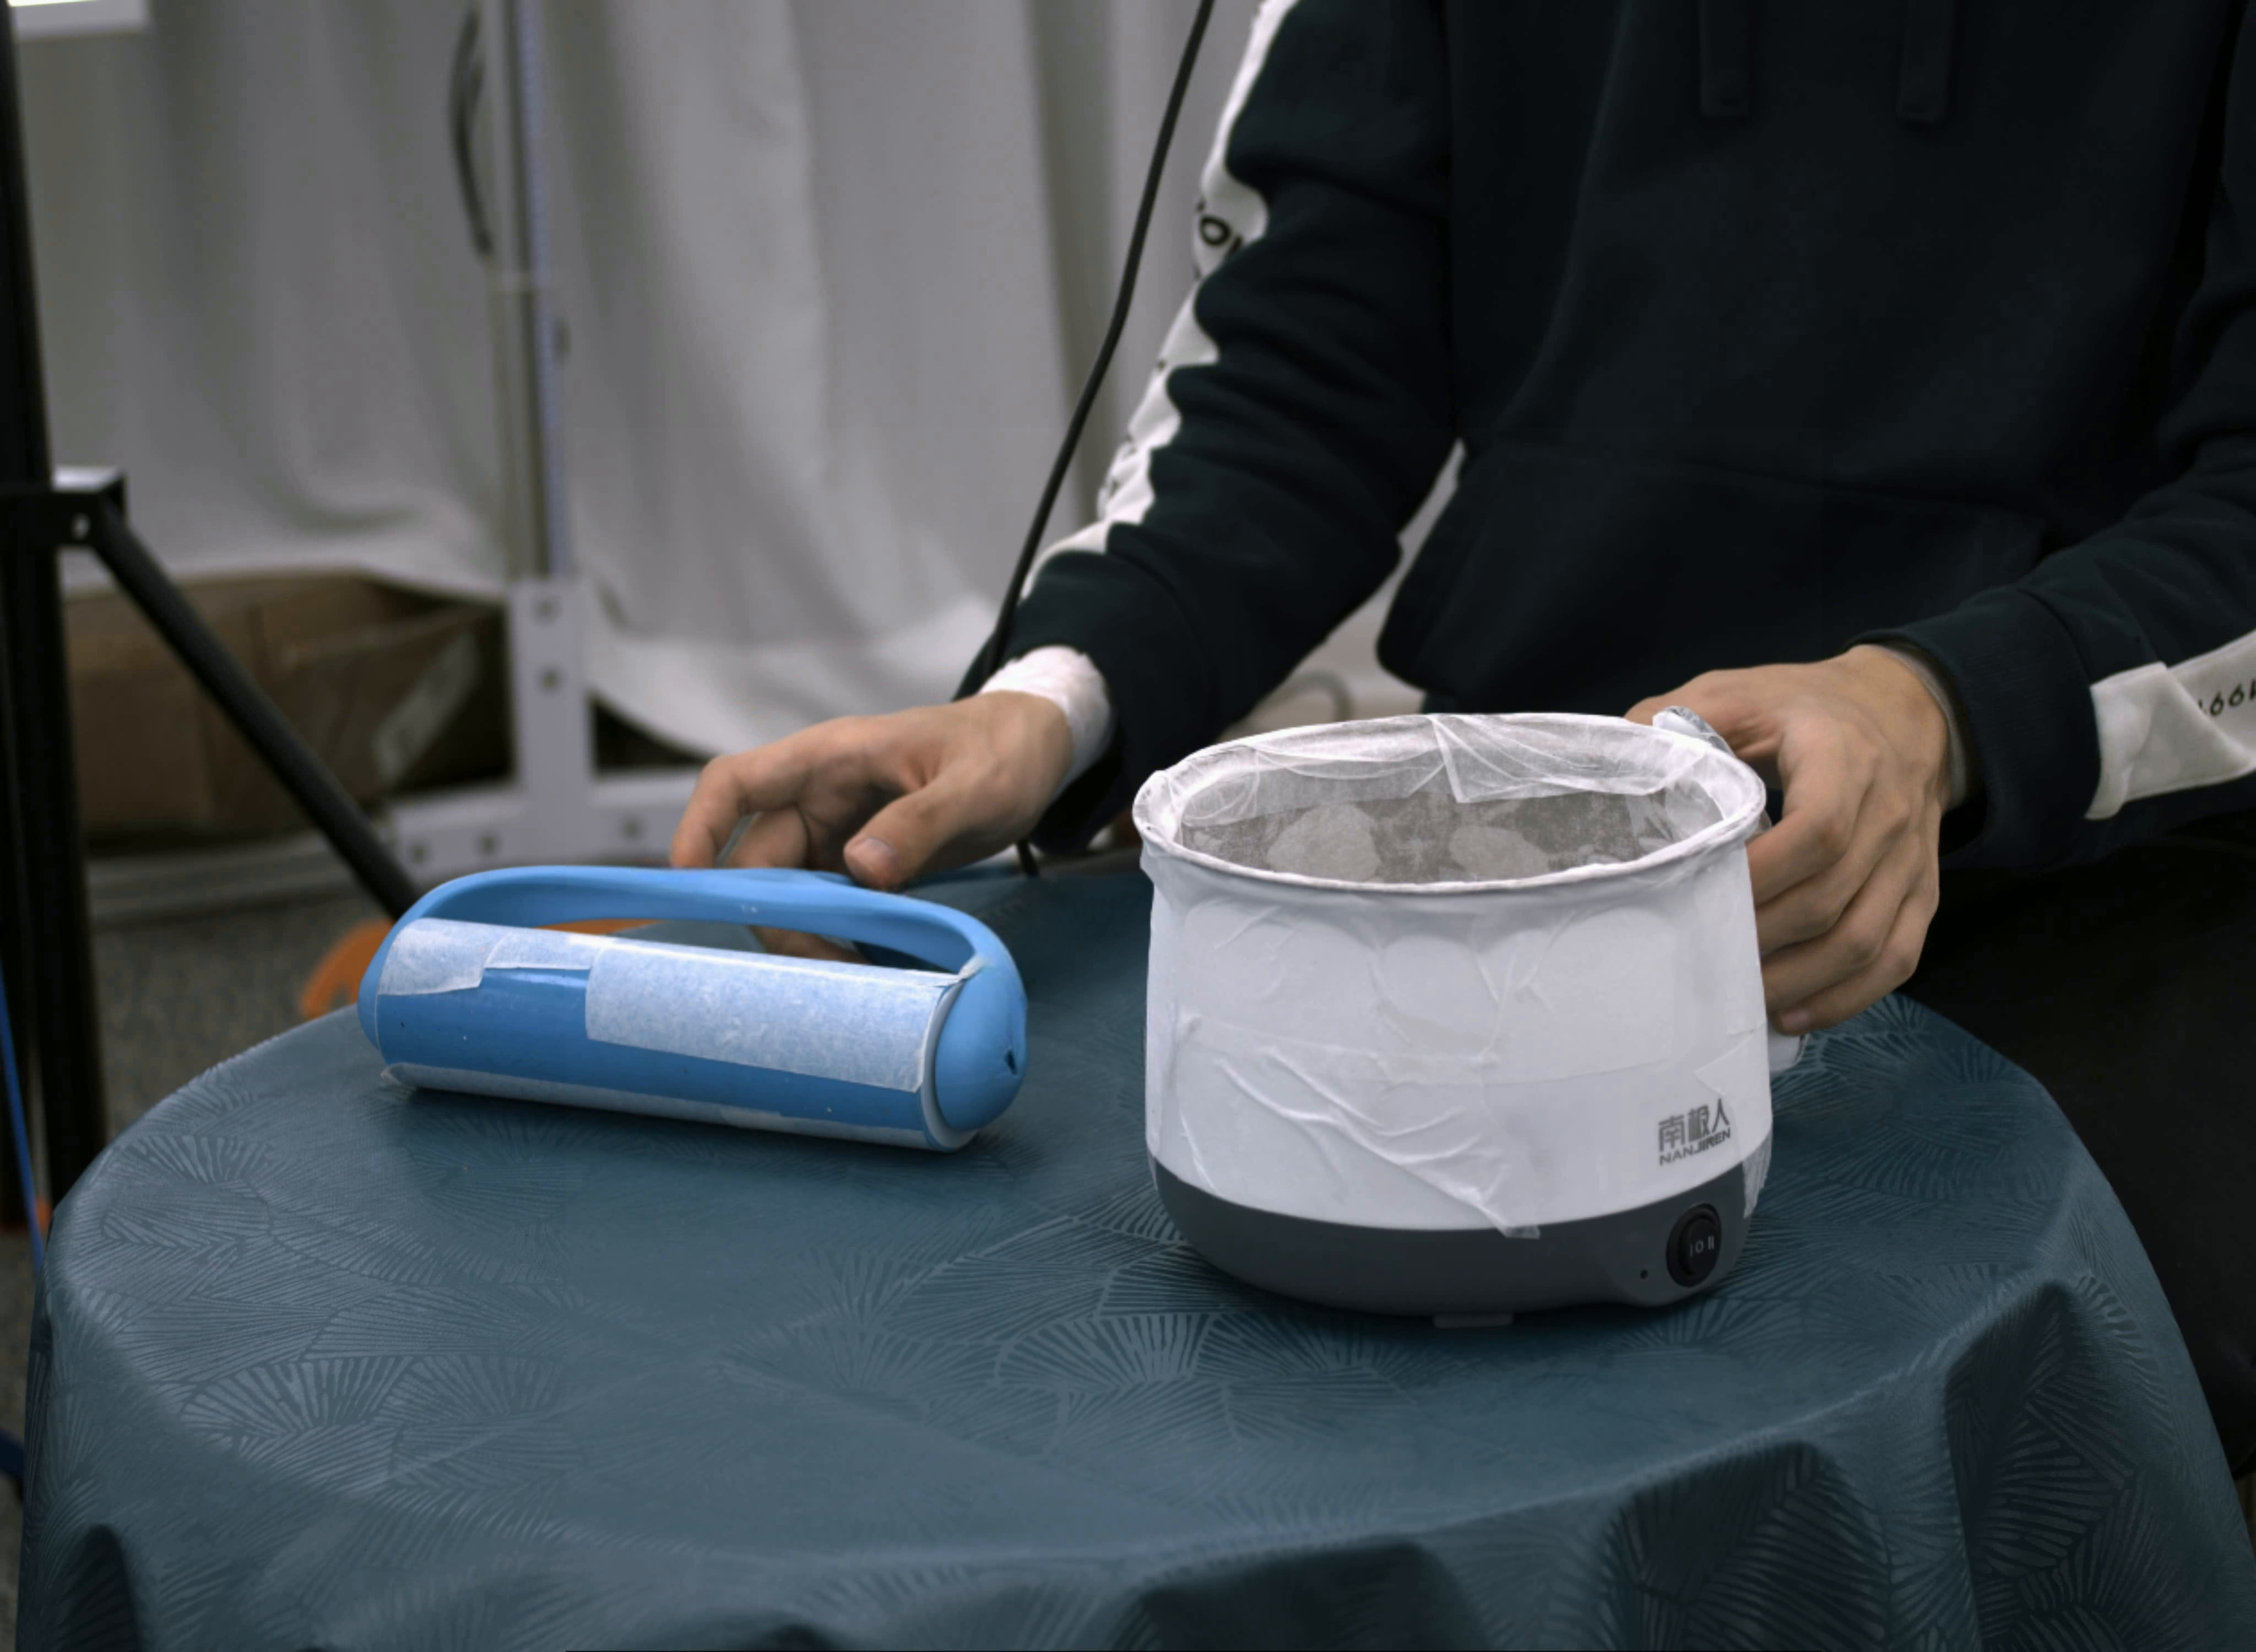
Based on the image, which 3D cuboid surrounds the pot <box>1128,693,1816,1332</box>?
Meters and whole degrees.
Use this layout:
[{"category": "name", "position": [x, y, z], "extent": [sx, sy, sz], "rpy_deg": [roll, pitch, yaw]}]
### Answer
[{"category": "pot", "position": [0.111, 0.045, 1.503], "extent": [0.228, 0.136, 0.183], "rpy_deg": [-19, 23, -41]}]

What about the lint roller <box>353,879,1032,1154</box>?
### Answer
[{"category": "lint roller", "position": [-0.115, 0.048, 1.688], "extent": [0.232, 0.068, 0.178], "rpy_deg": [2, 17, 23]}]
